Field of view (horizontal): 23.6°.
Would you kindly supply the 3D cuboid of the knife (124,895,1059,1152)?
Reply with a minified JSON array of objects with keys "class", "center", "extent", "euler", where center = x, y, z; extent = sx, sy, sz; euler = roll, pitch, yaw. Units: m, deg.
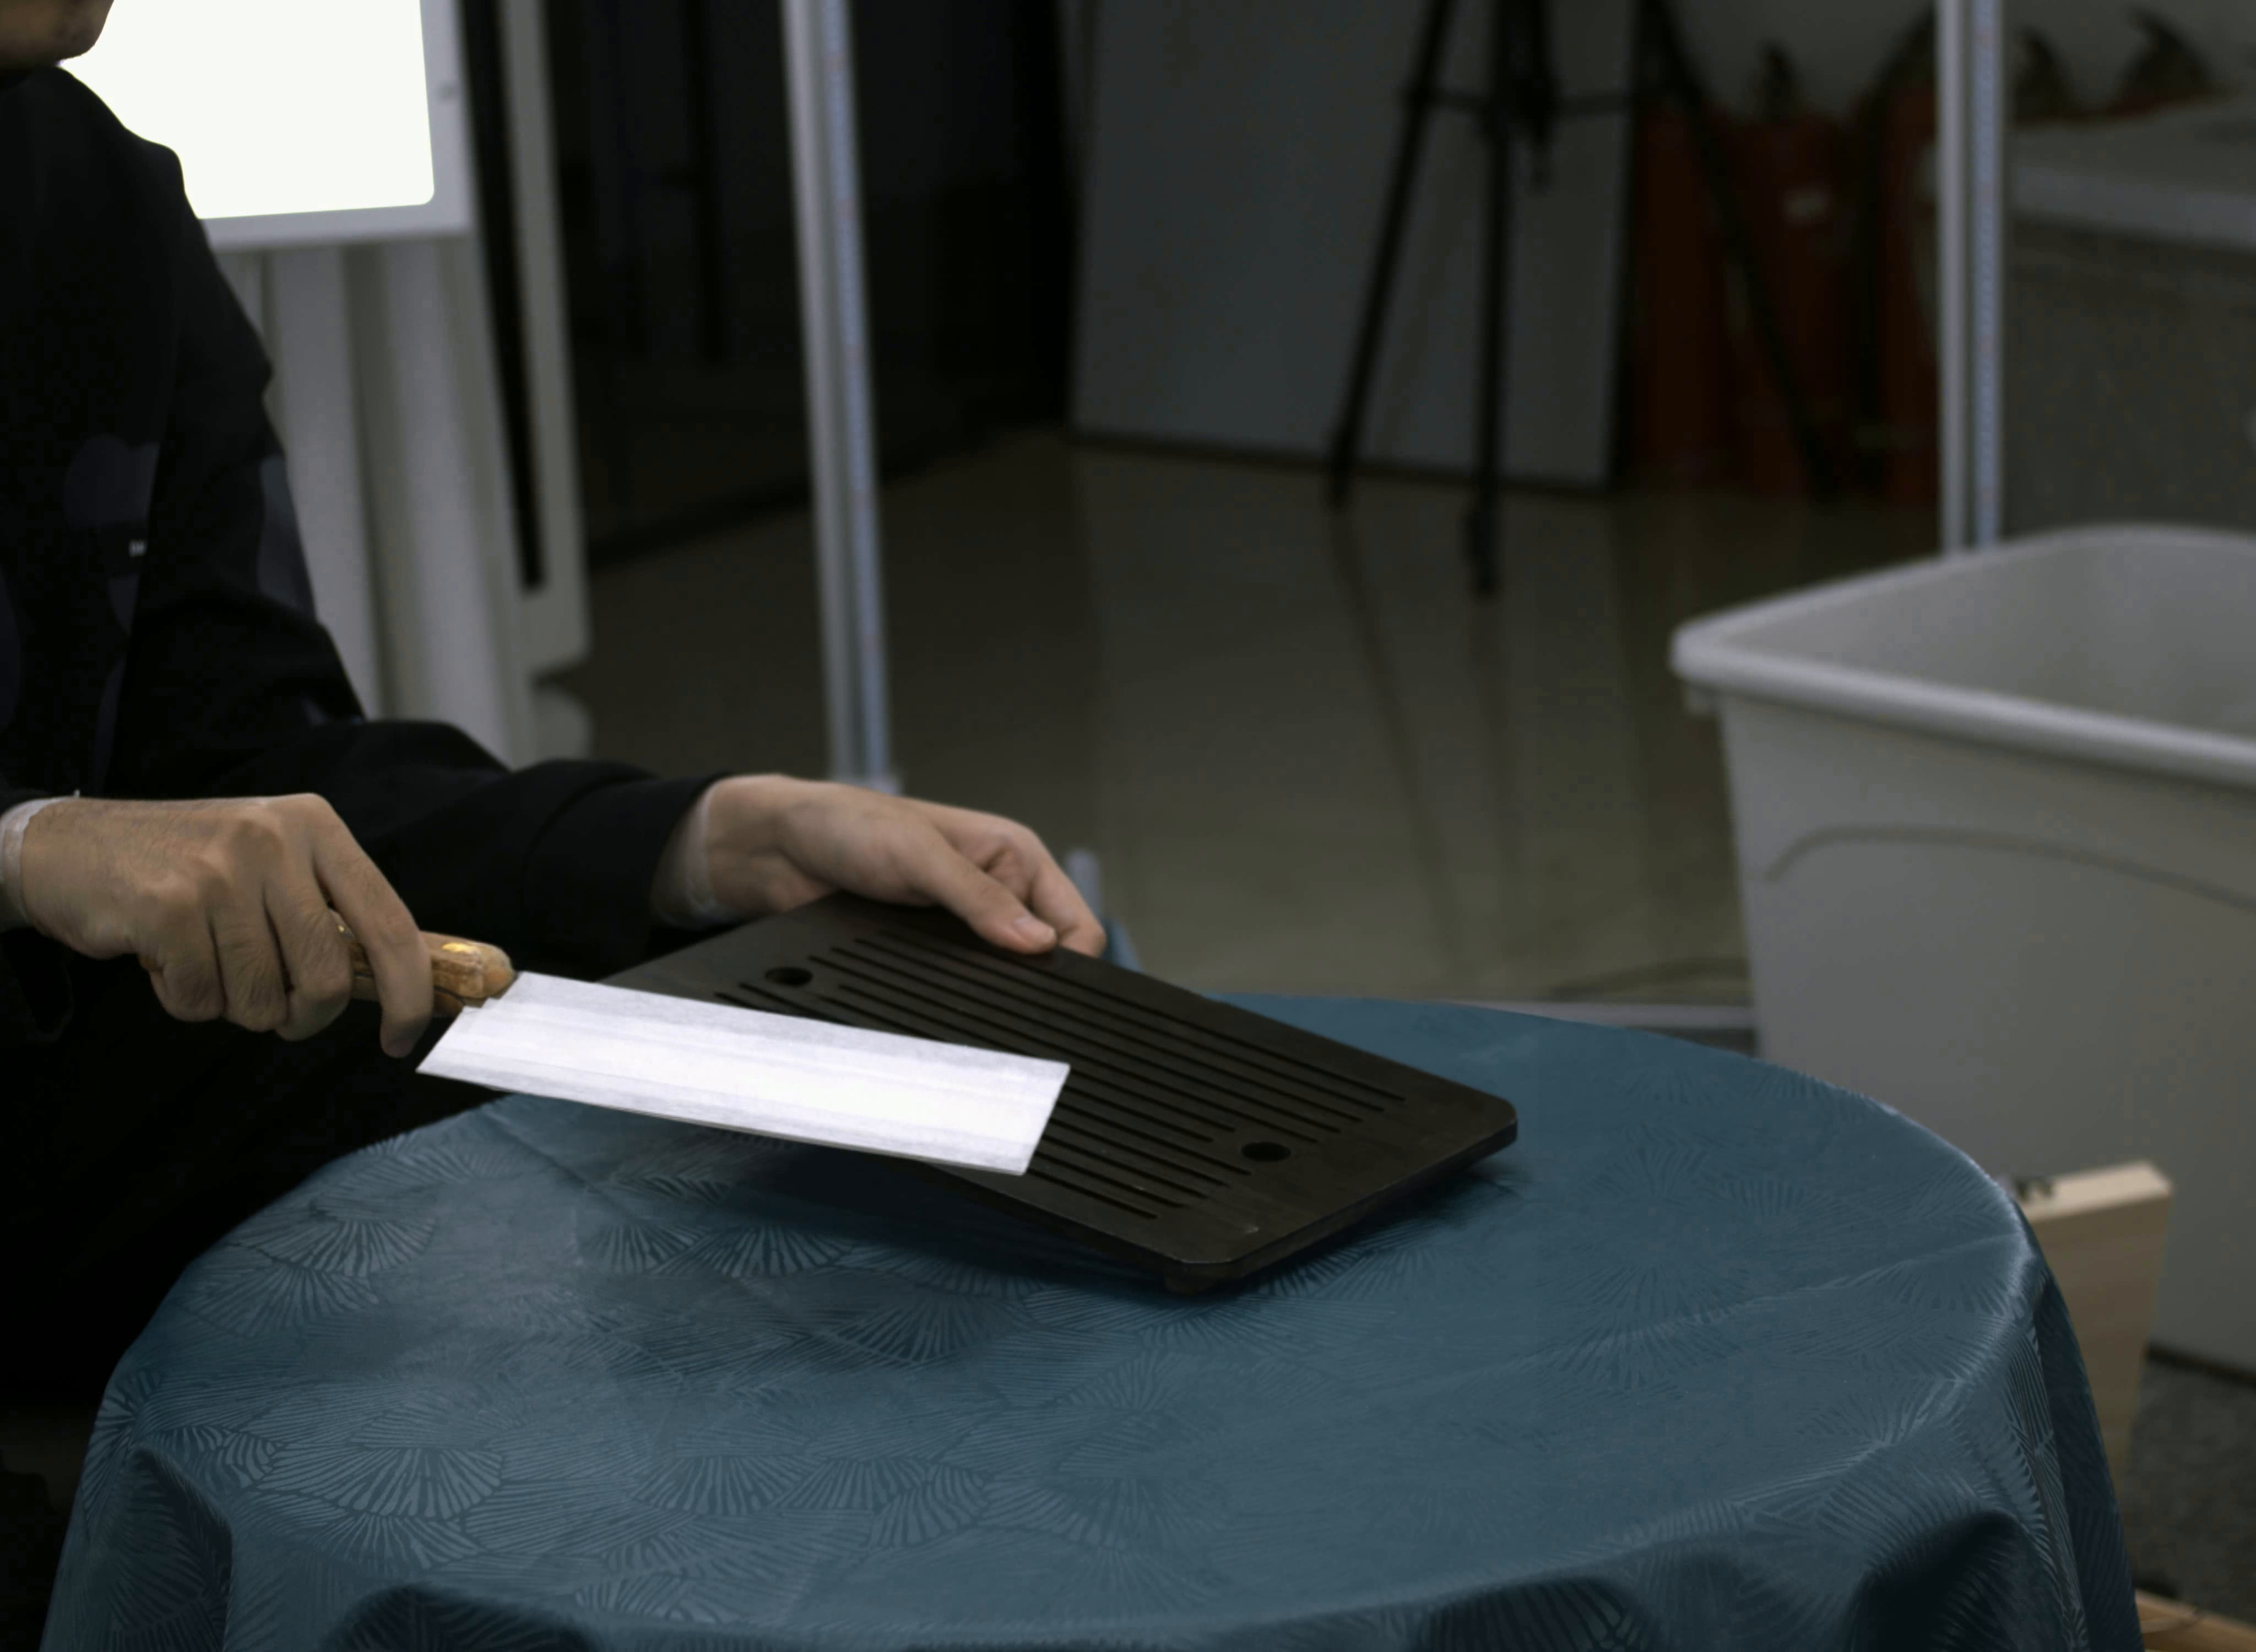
[{"class":"knife","center":[-0.171,0.065,1.673],"extent":[0.303,0.021,0.092],"euler":[9,21,8]}]

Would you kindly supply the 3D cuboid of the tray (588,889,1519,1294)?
[{"class":"tray","center":[-0.034,0.085,1.805],"extent":[0.308,0.019,0.167],"euler":[18,26,39]}]
